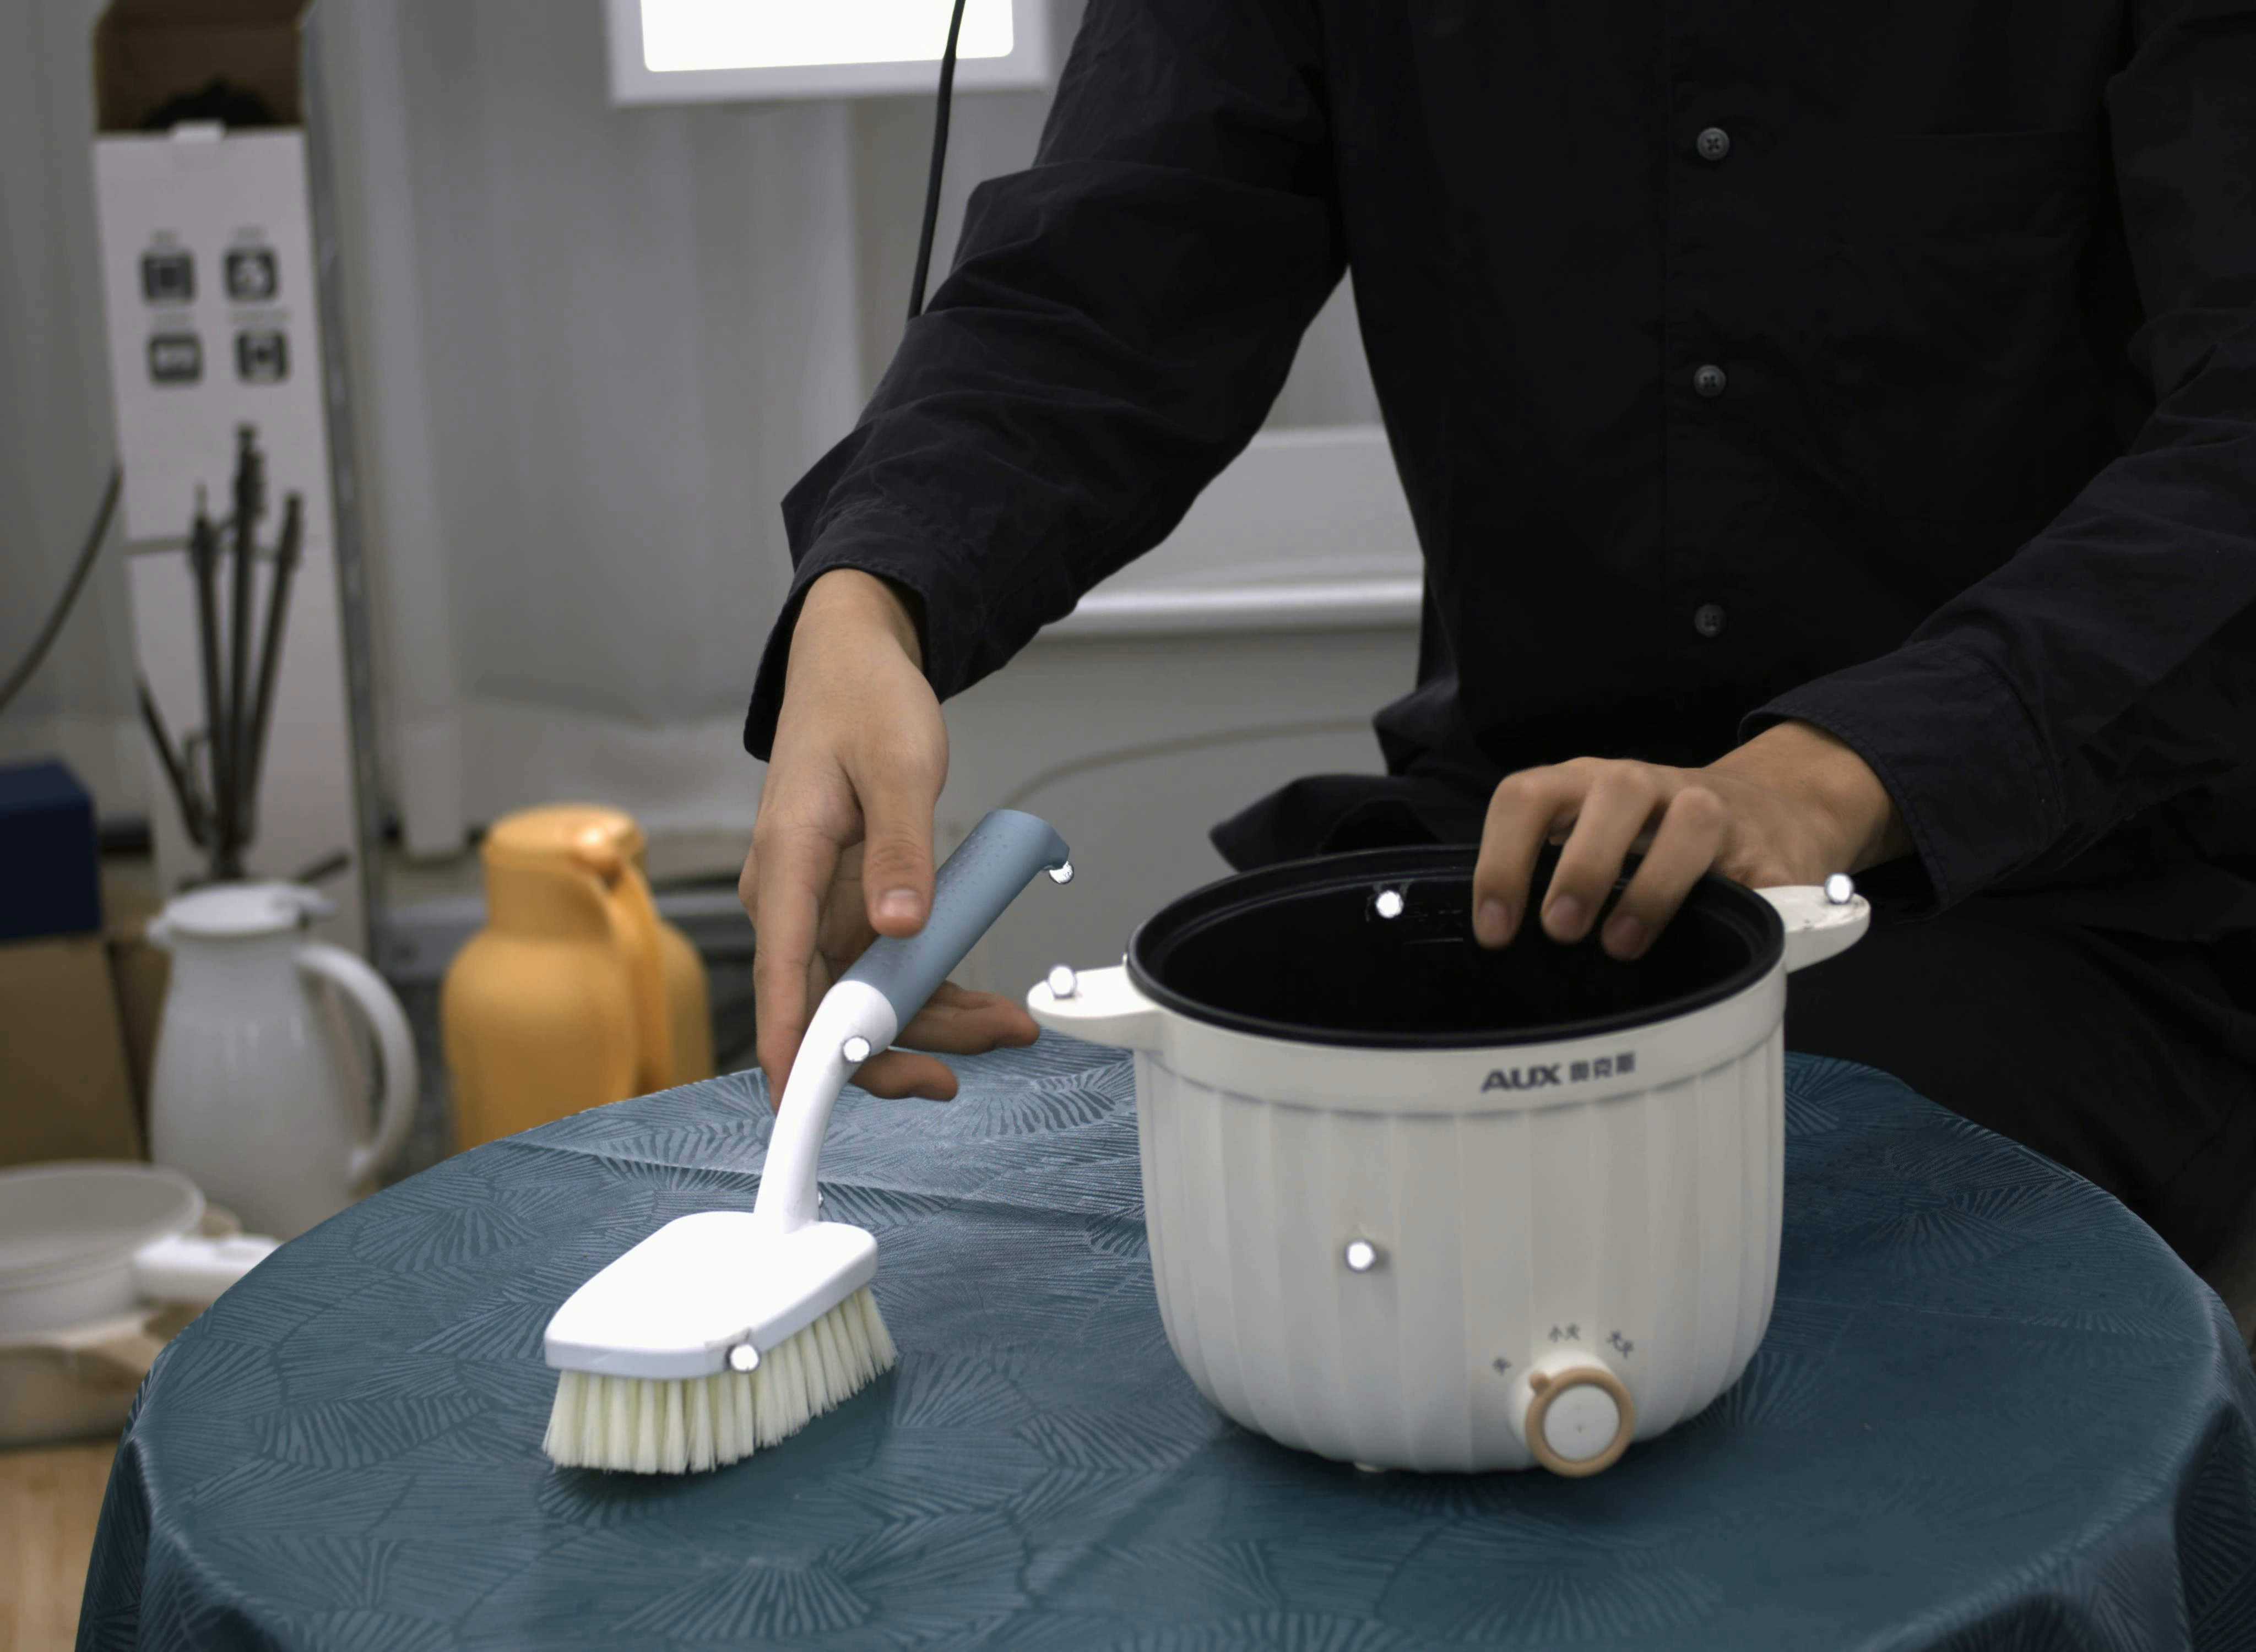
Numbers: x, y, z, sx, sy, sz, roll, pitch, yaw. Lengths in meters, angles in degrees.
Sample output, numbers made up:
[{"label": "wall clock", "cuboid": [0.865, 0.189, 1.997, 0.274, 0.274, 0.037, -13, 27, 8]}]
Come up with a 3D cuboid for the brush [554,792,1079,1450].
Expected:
[{"label": "brush", "cuboid": [-0.077, 0.100, 1.625, 0.083, 0.084, 0.328, 35, 36, 4]}]

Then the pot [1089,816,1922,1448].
[{"label": "pot", "cuboid": [0.111, 0.088, 1.510, 0.239, 0.142, 0.192, -8, 13, -13]}]
